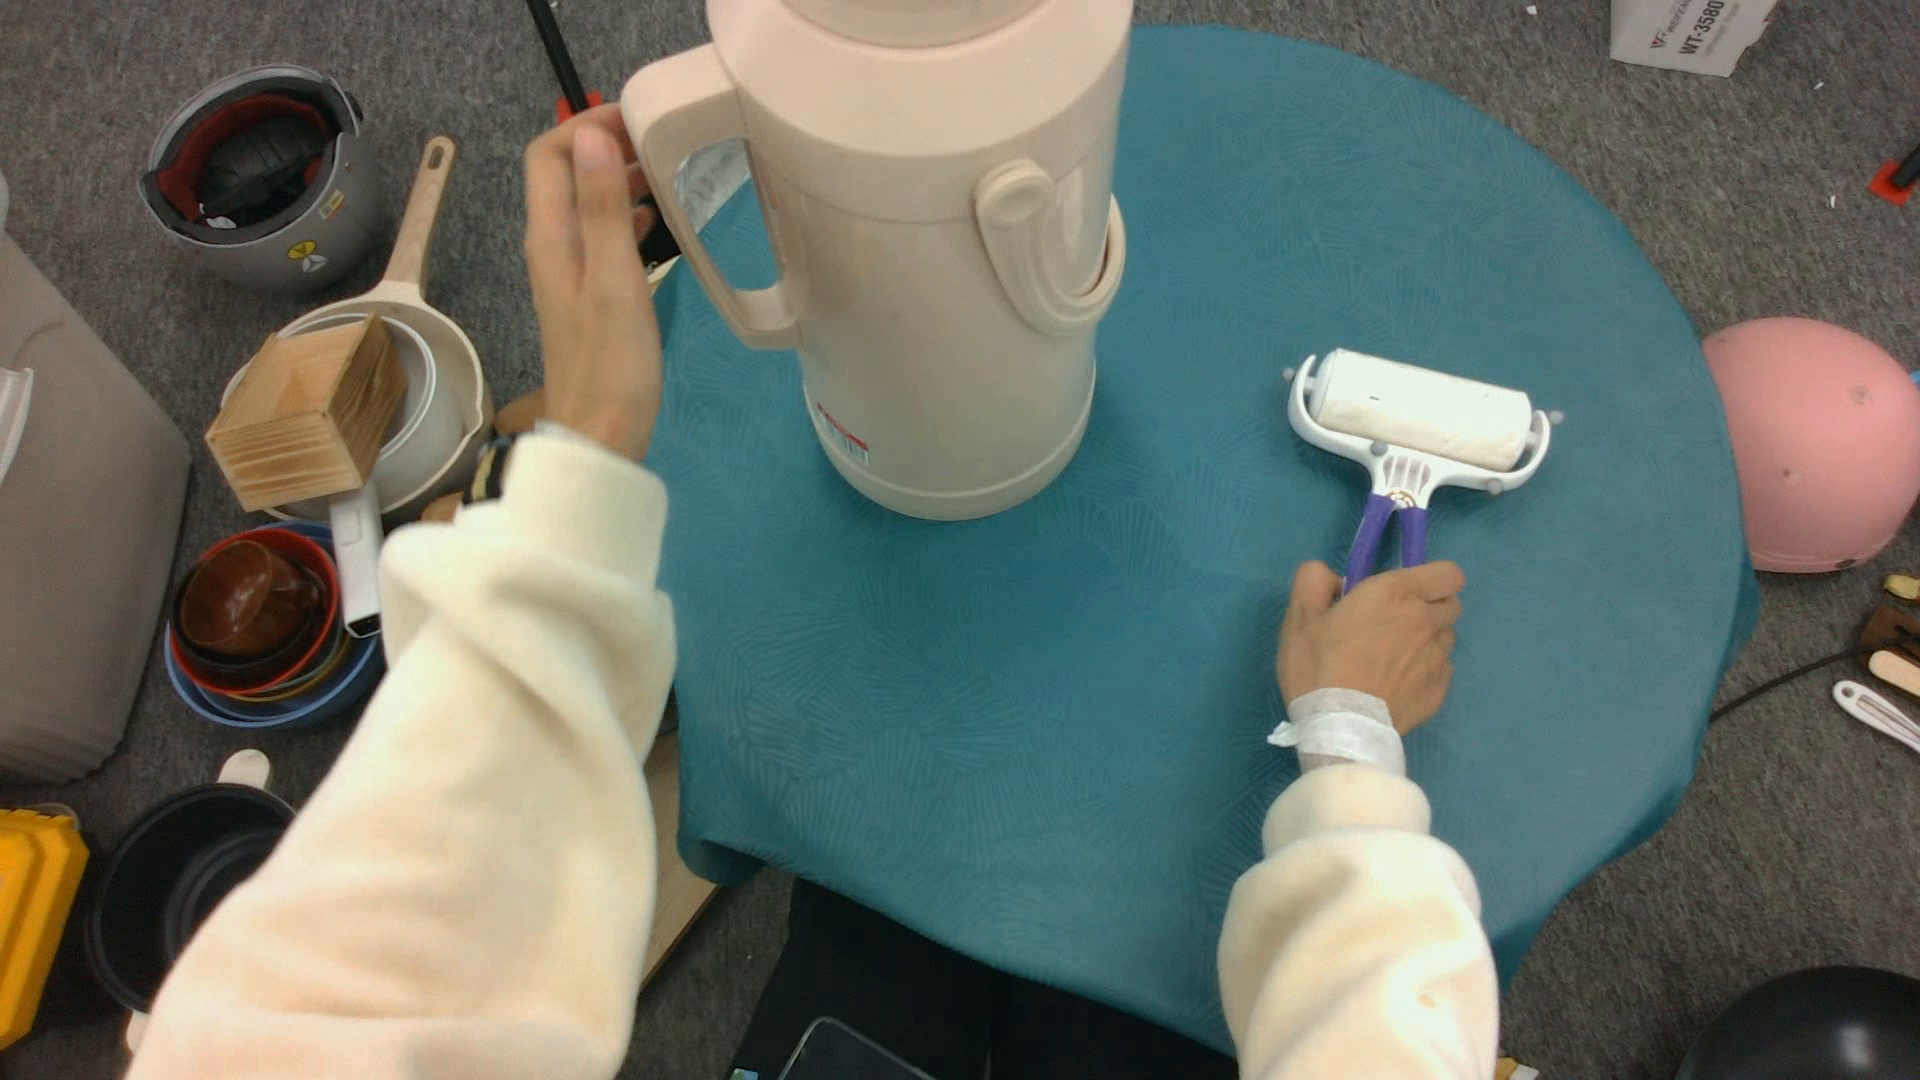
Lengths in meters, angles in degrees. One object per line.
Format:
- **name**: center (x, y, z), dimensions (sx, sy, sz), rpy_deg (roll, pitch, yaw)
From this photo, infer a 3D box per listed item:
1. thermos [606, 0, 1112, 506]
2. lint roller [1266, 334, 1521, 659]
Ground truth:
- **thermos**: center (-0.032, -0.165, 0.594), dimensions (0.207, 0.405, 0.175), rpy_deg (-23, 68, -9)
- **lint roller**: center (0.212, -0.025, 0.707), dimensions (0.133, 0.050, 0.181), rpy_deg (17, 57, 7)
